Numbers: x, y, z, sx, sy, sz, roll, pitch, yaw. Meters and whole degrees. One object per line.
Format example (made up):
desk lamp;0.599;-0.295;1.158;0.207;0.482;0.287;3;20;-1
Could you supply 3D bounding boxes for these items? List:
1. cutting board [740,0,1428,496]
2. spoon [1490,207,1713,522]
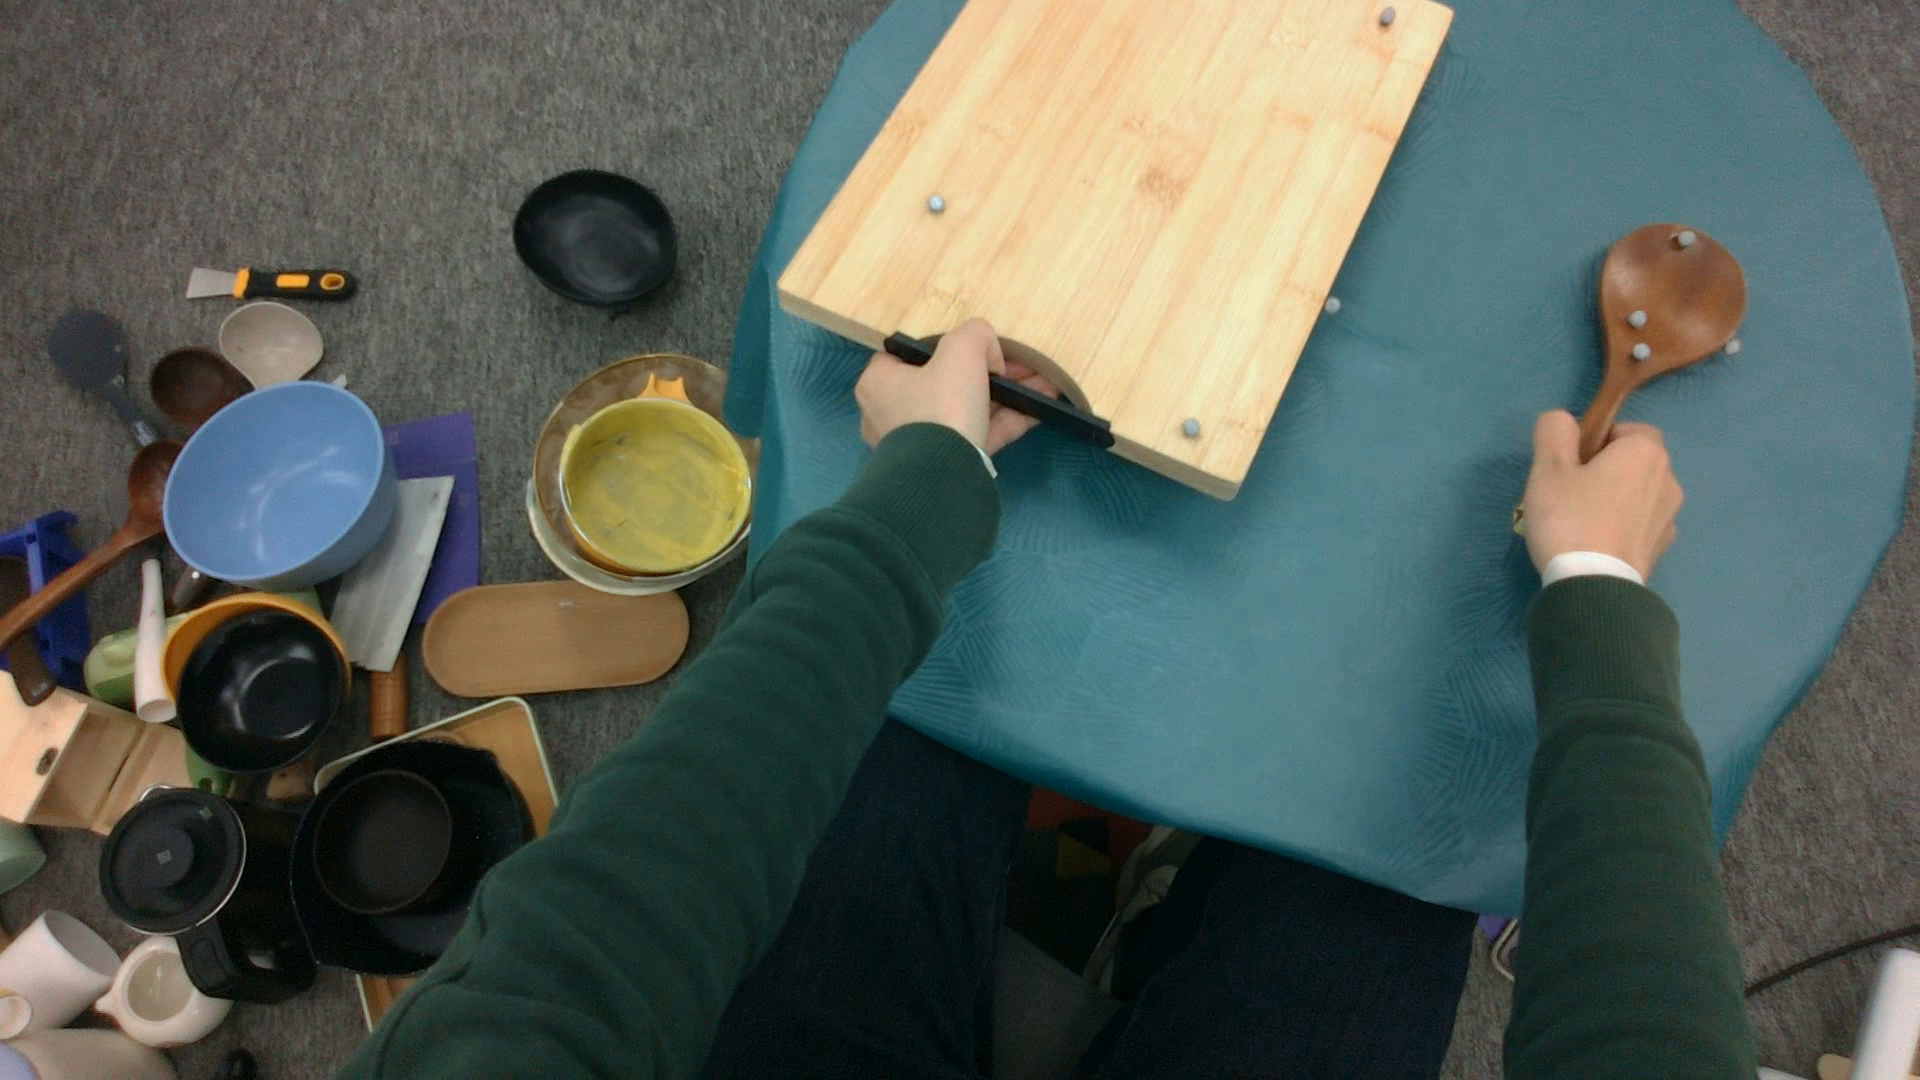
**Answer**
cutting board;0.078;-0.208;0.715;0.250;0.023;0.350;23;64;8
spoon;0.317;-0.090;0.690;0.075;0.017;0.217;34;65;8
